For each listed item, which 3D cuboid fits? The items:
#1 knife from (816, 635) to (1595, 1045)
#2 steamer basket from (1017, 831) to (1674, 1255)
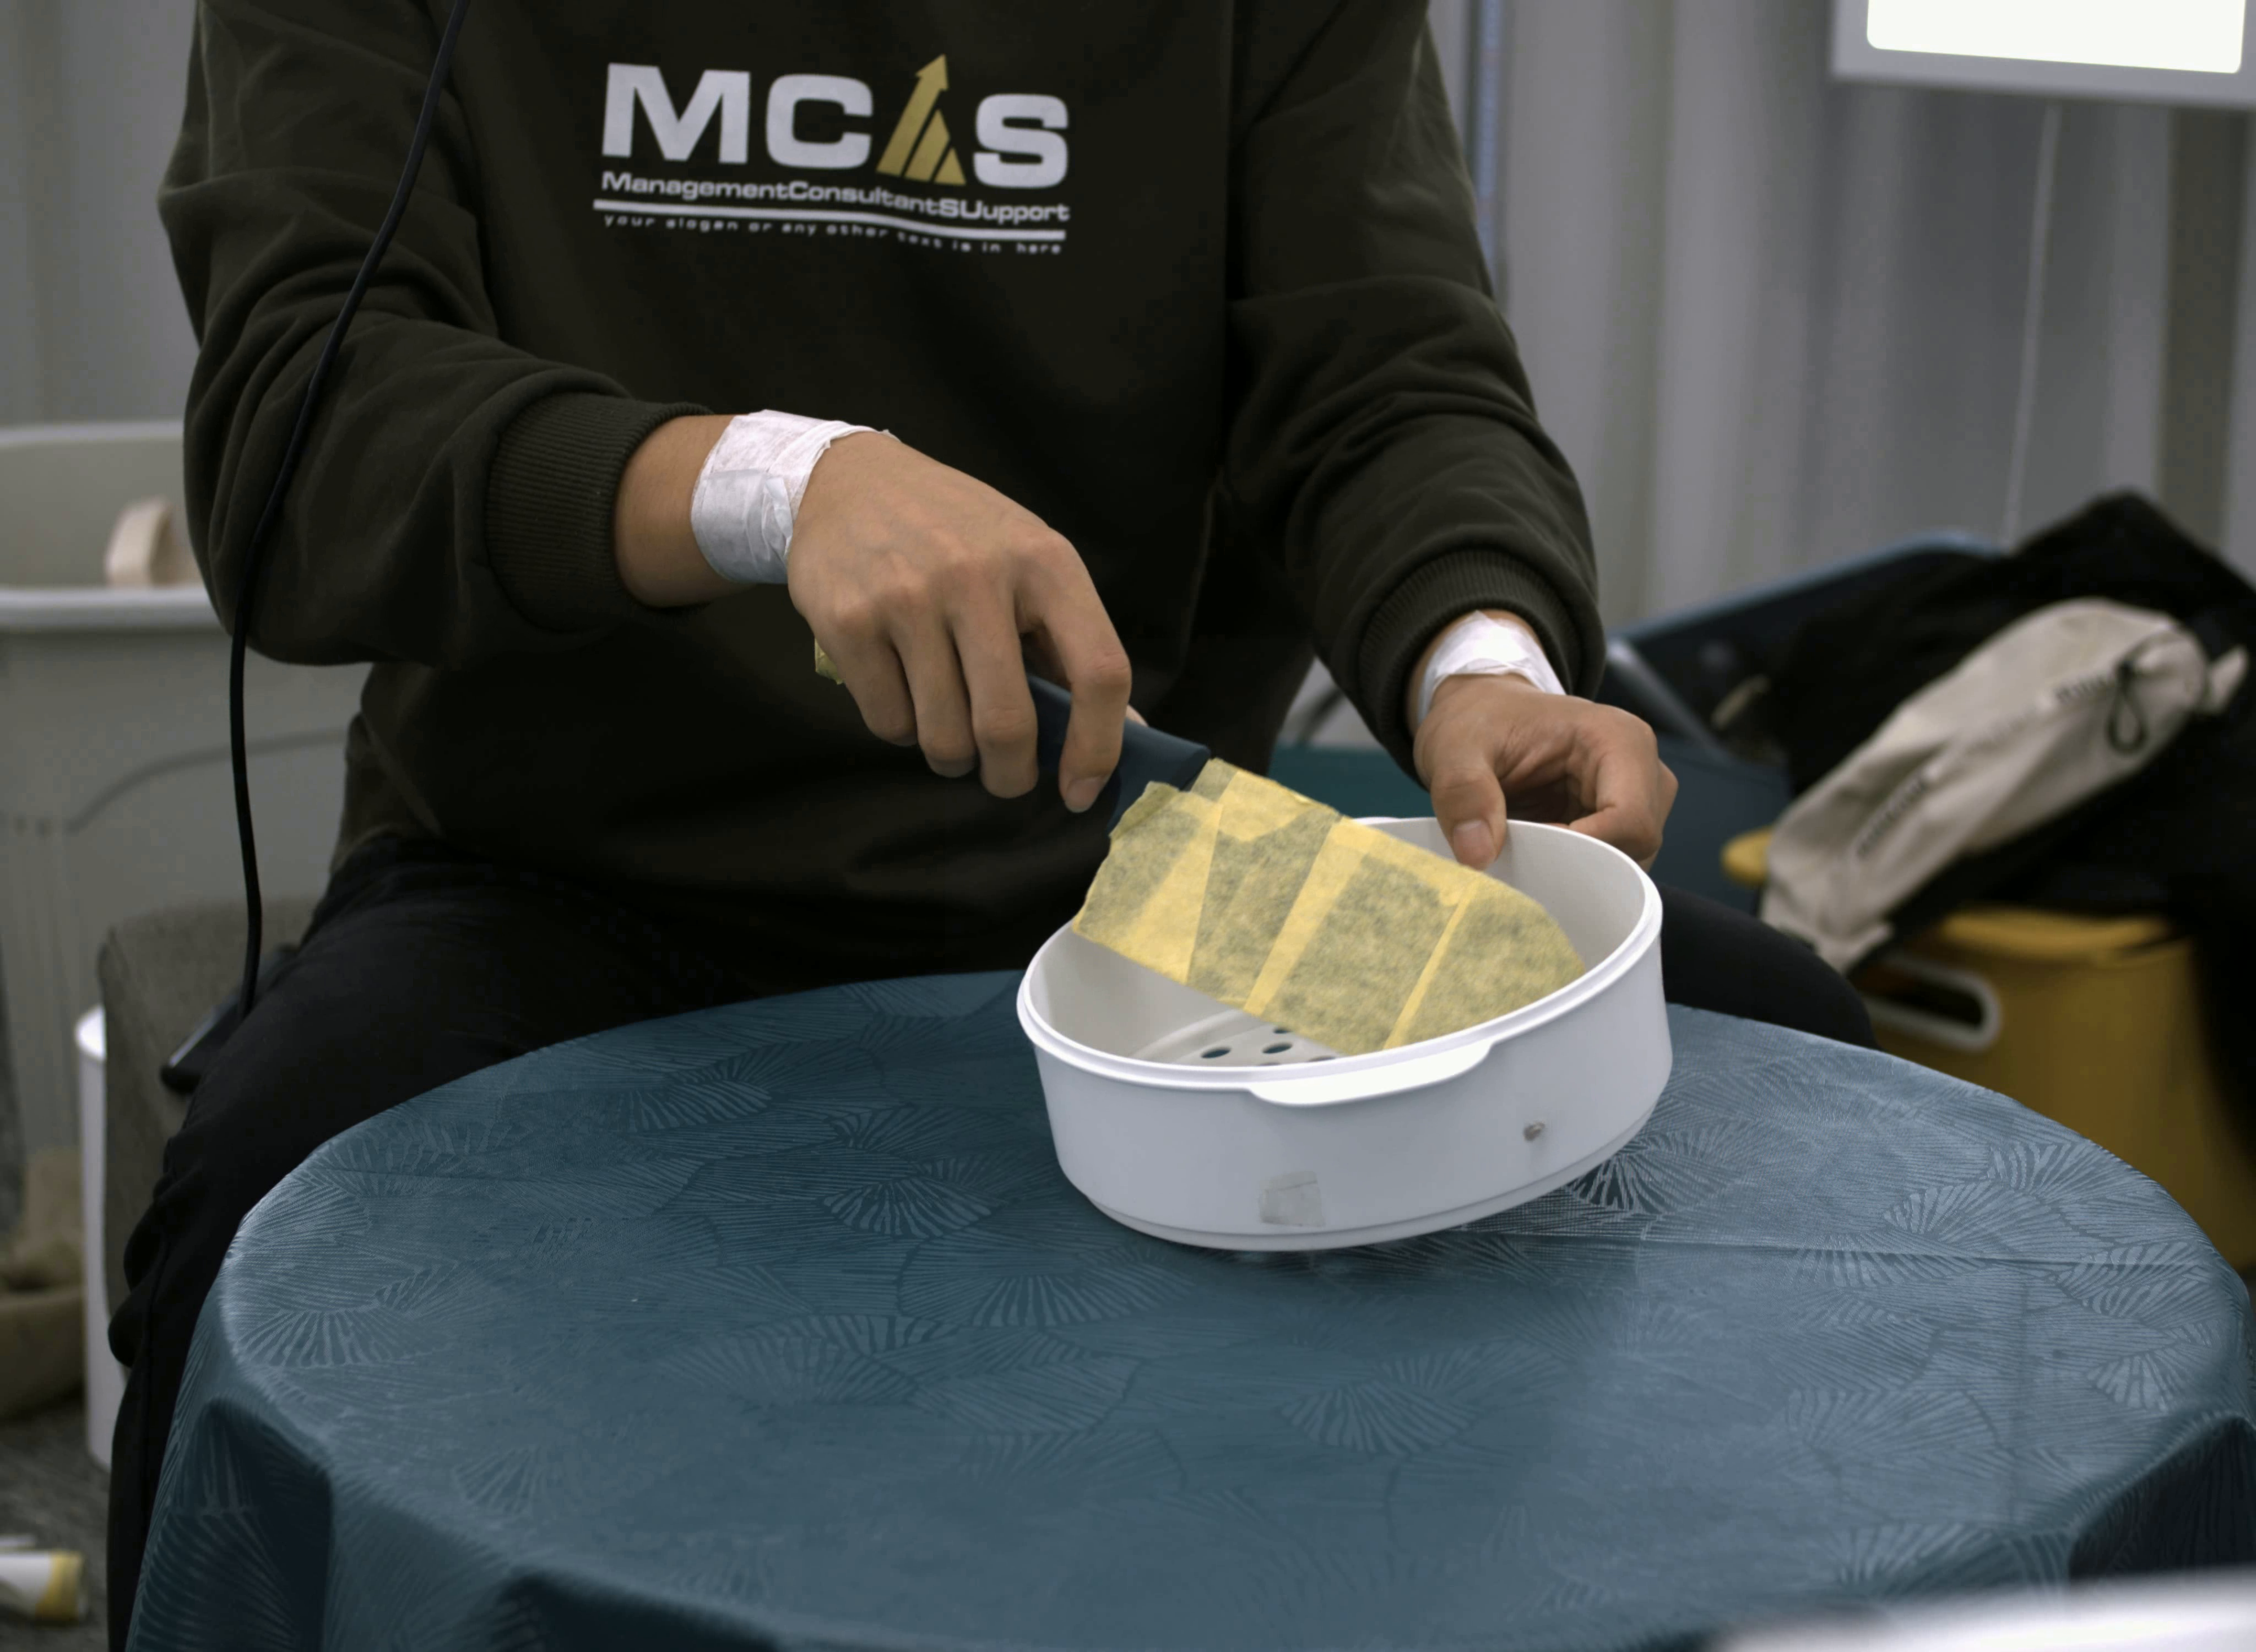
[{"bbox_3d":[0.021,0.011,1.647,0.287,0.081,0.027,25,-22,15],"label":"knife"},{"bbox_3d":[0.069,0.067,1.623,0.201,0.070,0.229,-9,19,0],"label":"steamer basket"}]
